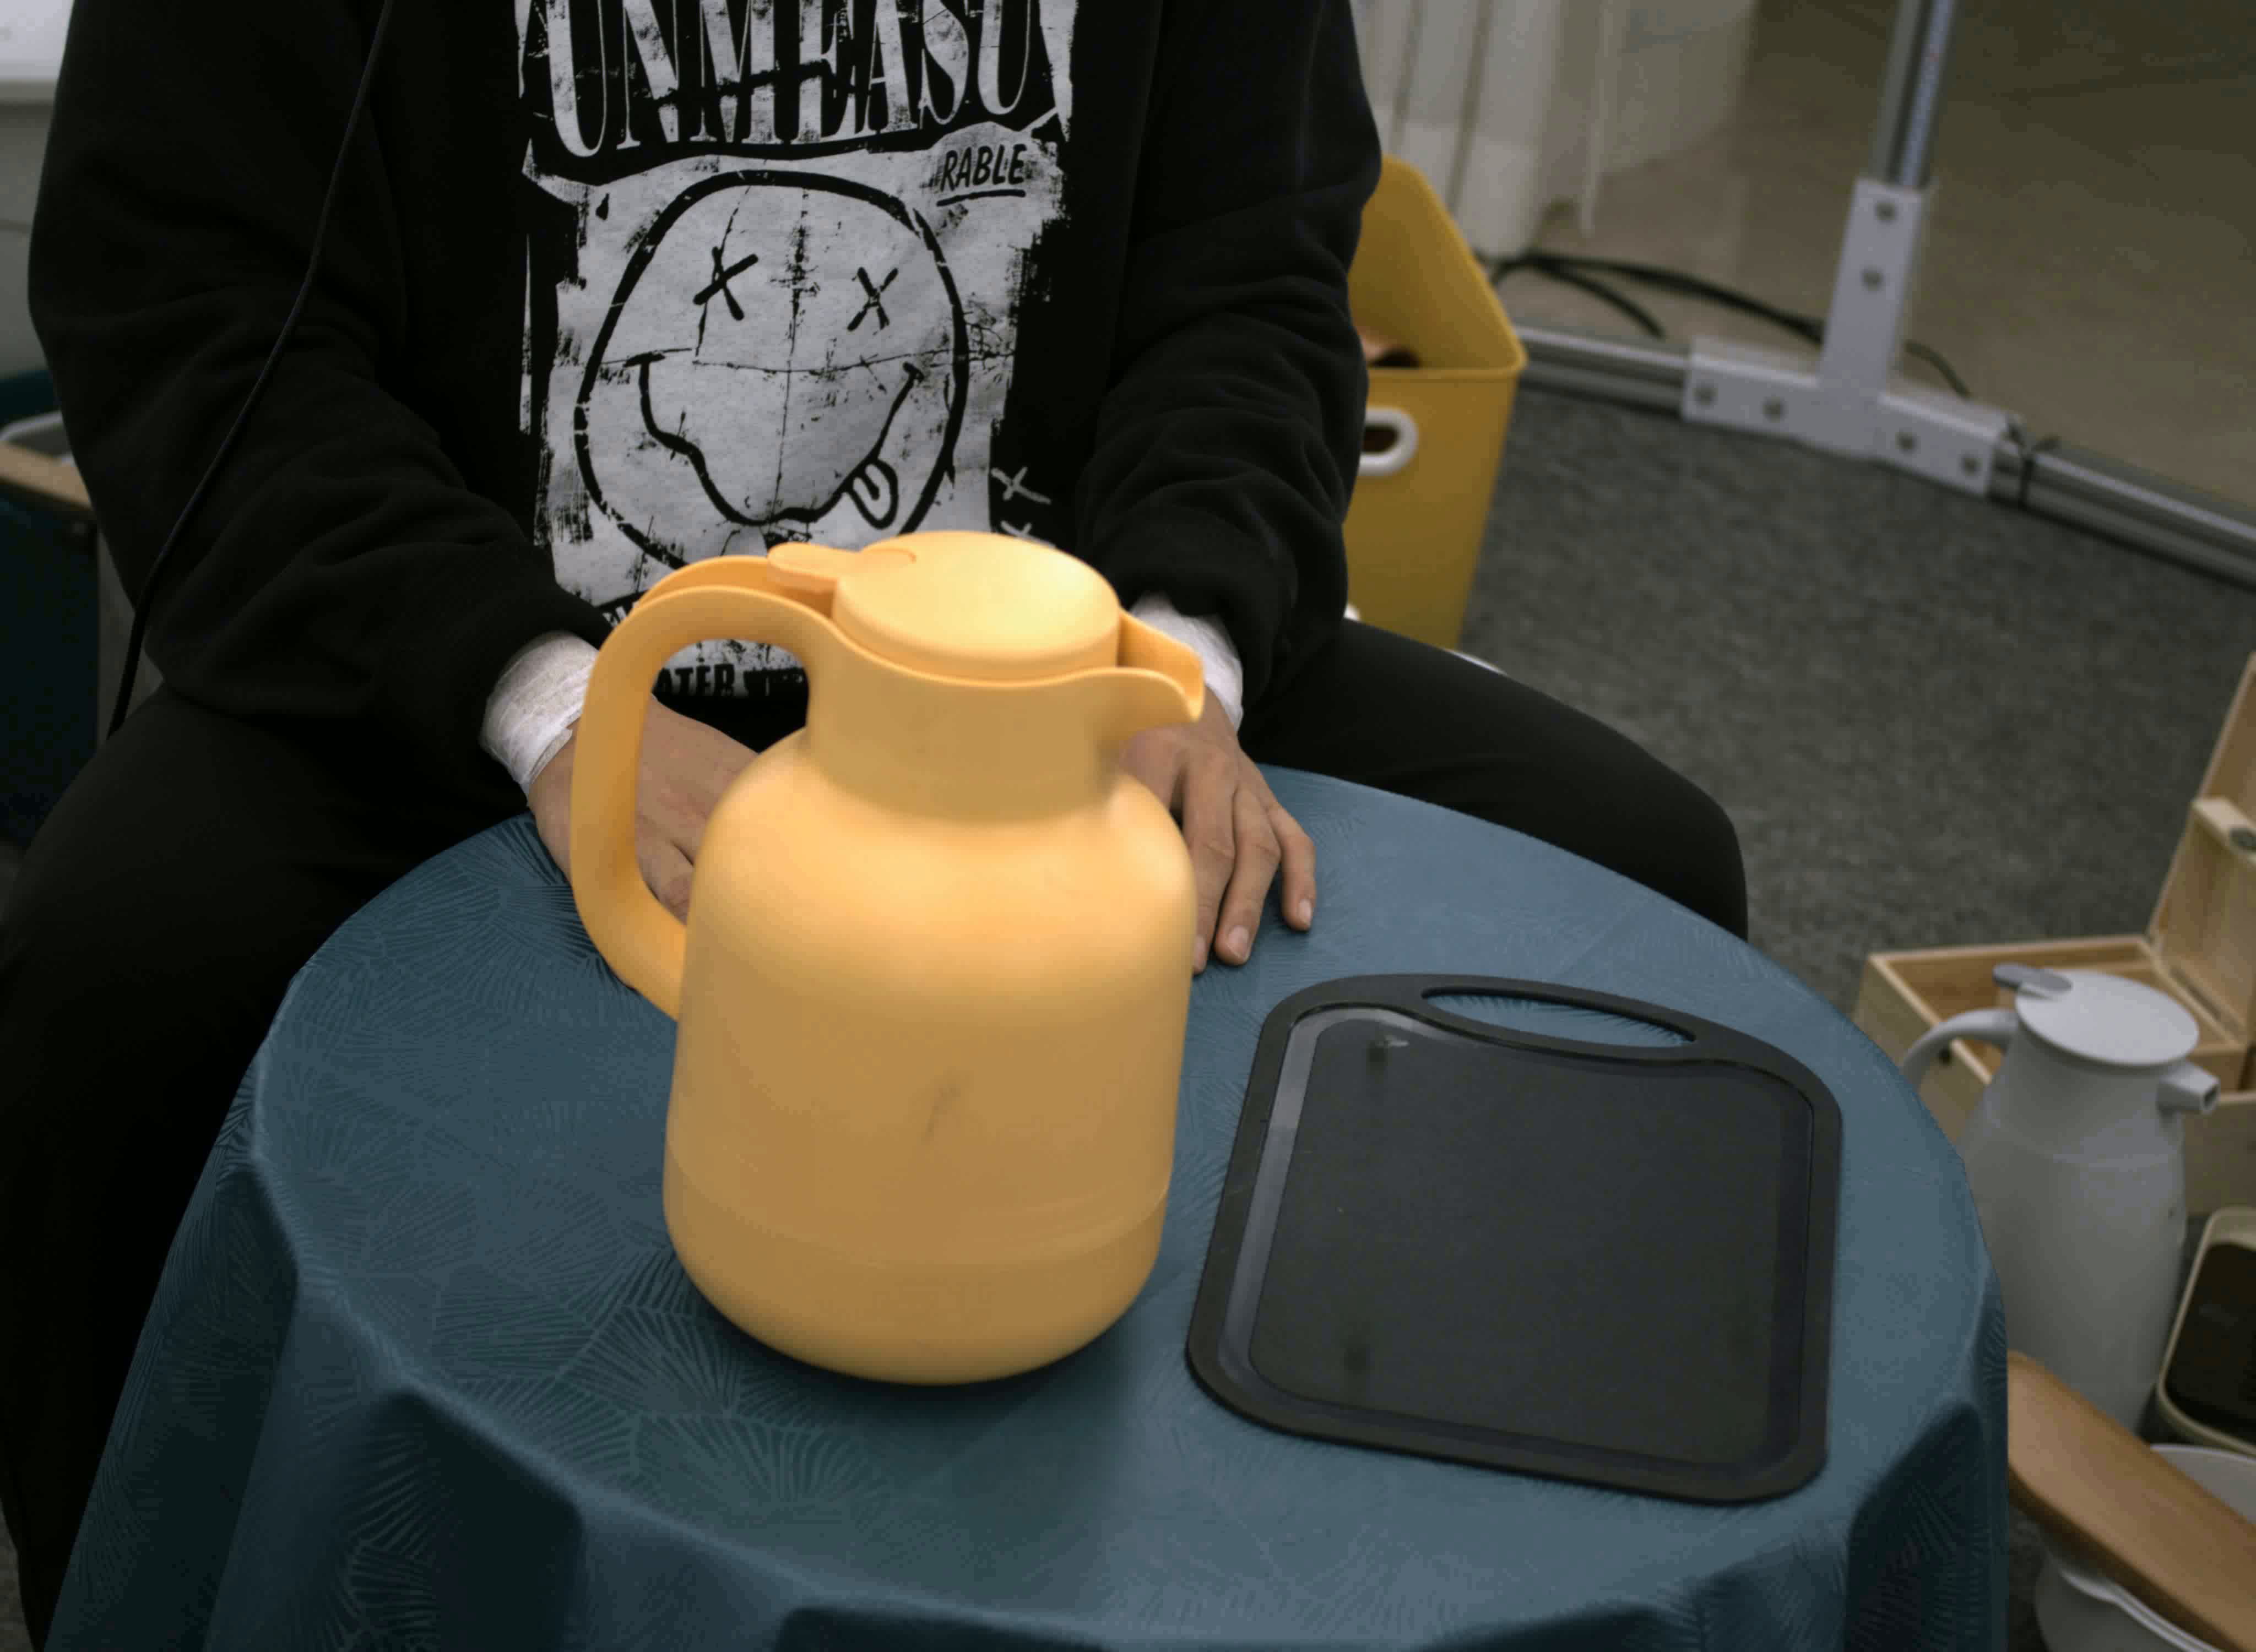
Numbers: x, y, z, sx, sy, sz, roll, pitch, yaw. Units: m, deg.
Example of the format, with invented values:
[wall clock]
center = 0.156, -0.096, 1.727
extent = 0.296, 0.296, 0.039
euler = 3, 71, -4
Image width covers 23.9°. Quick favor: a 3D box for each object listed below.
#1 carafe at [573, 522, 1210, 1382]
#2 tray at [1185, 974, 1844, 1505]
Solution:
[carafe]
center = -0.079, 0.030, 1.683
extent = 0.202, 0.260, 0.163
euler = 14, 25, 12
[tray]
center = 0.137, 0.130, 1.817
extent = 0.211, 0.010, 0.326
euler = 9, 27, 5
